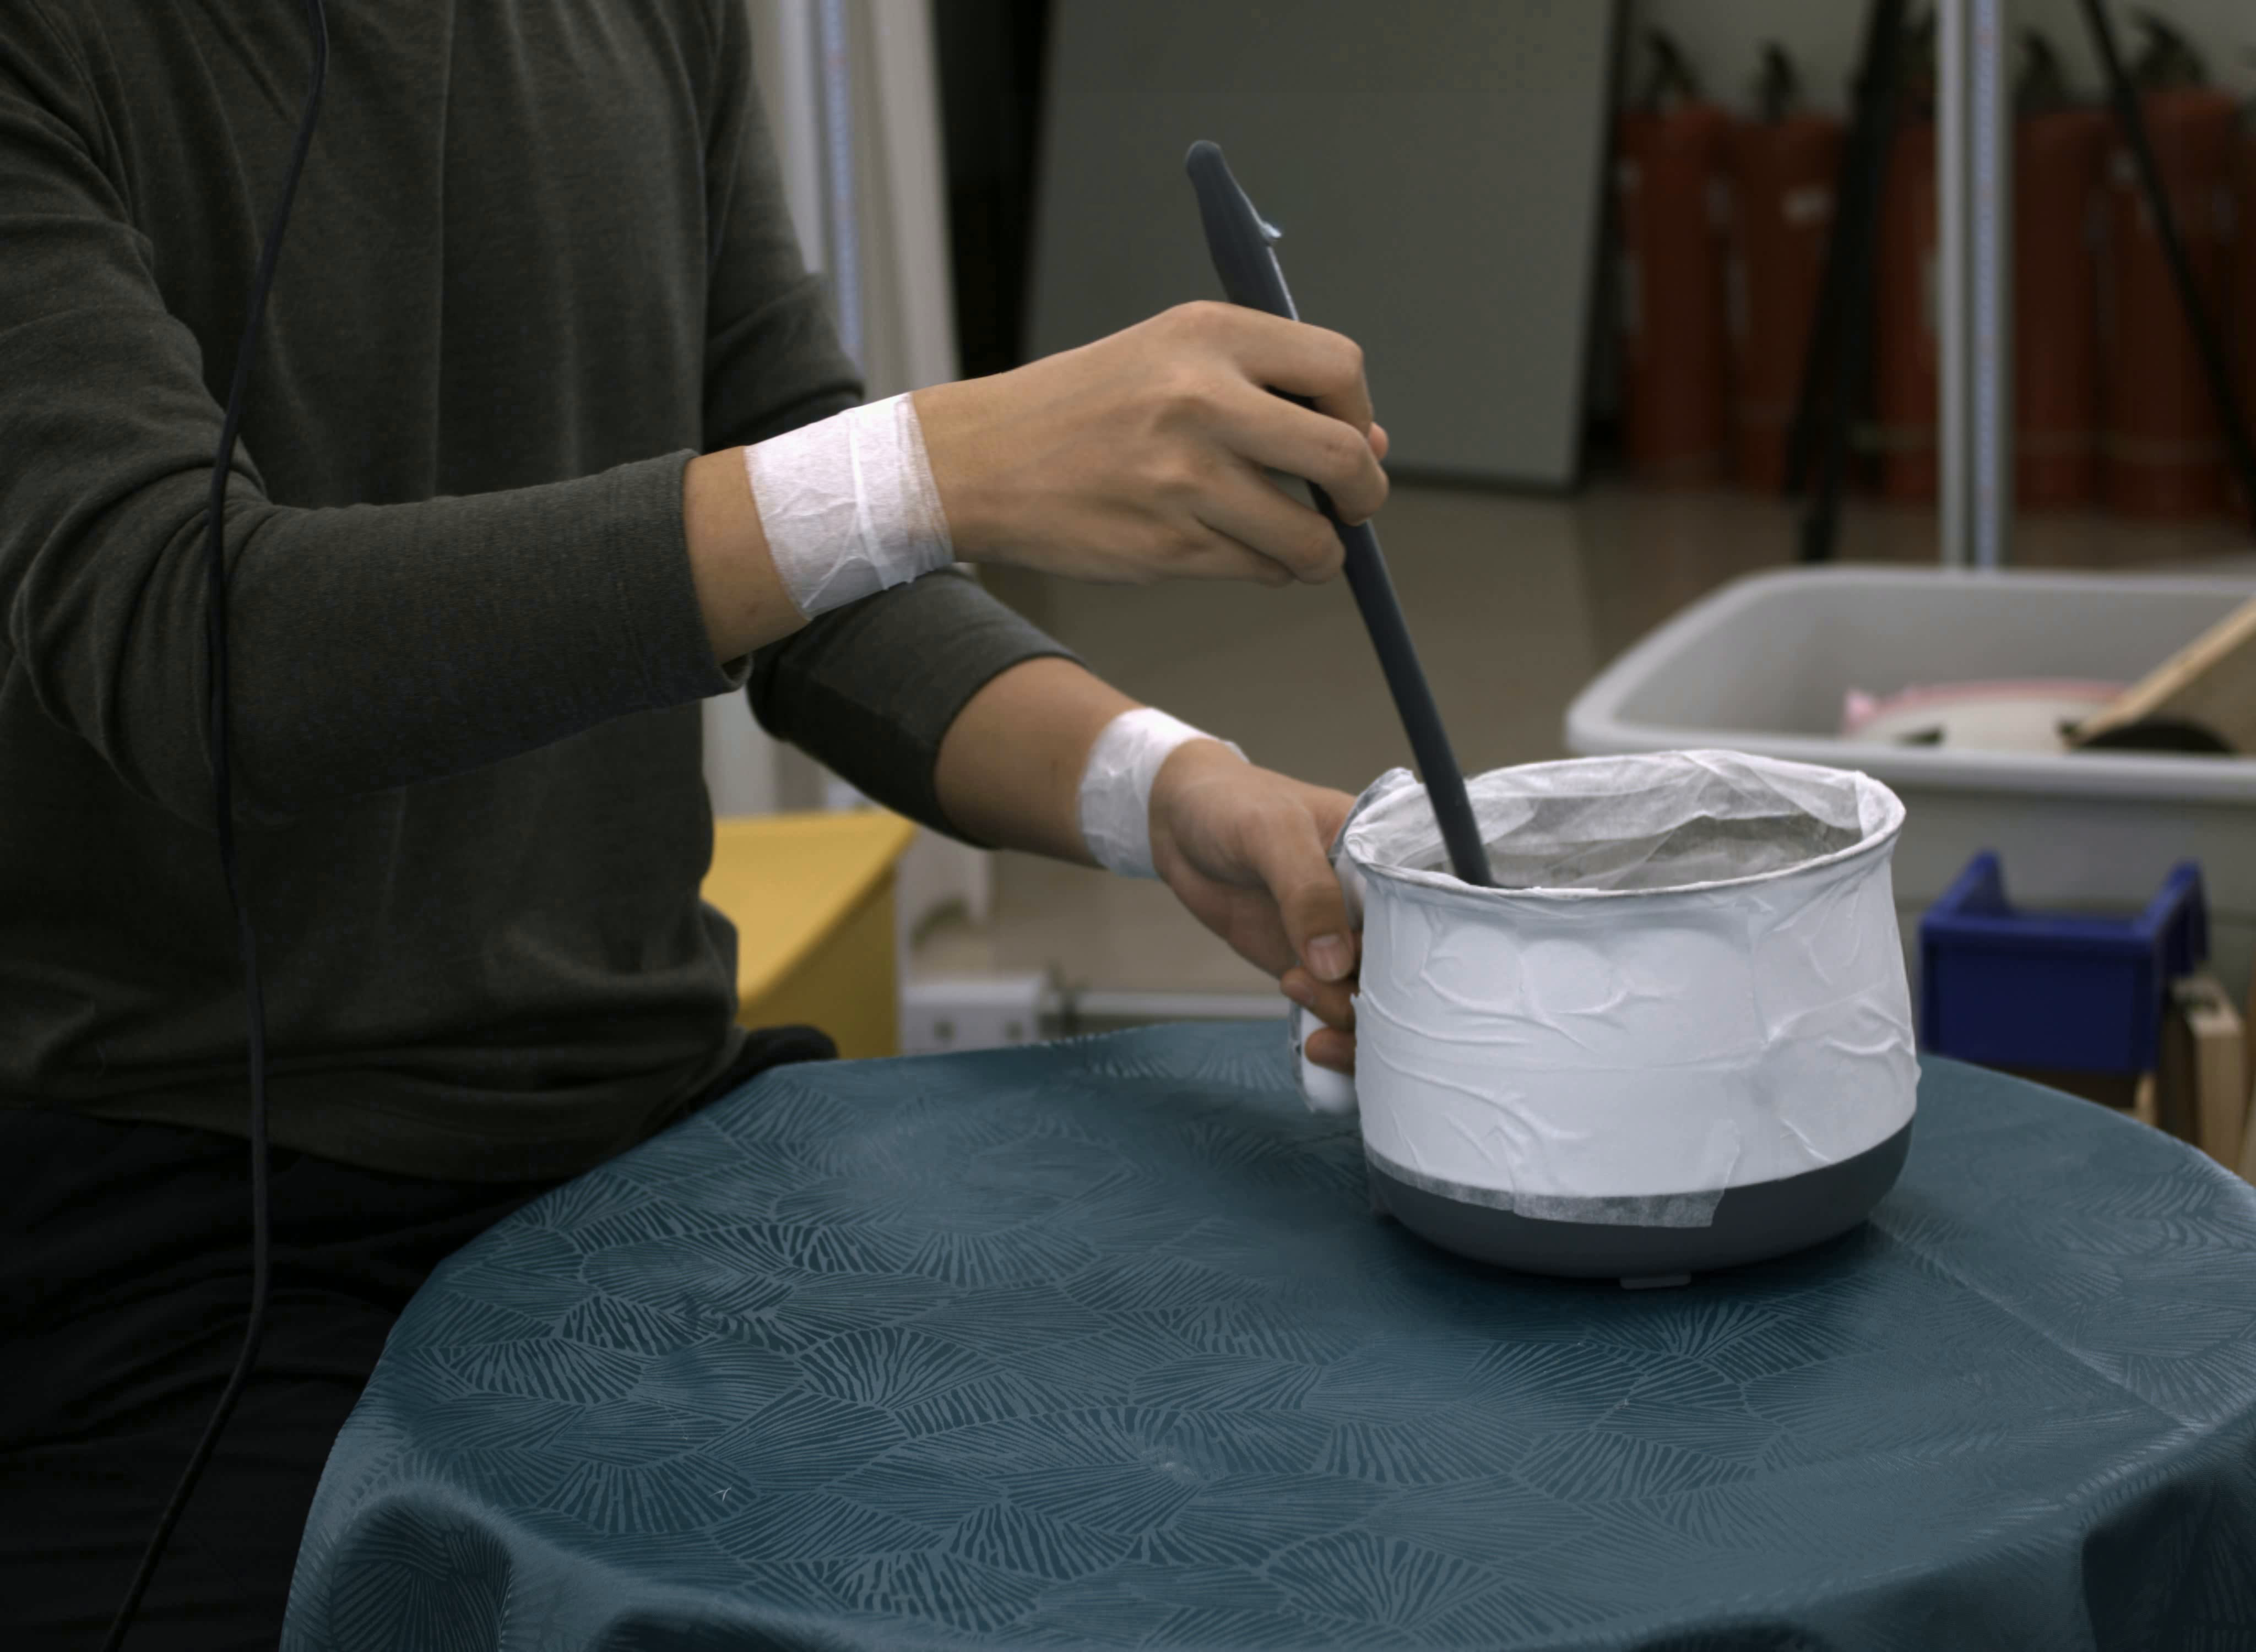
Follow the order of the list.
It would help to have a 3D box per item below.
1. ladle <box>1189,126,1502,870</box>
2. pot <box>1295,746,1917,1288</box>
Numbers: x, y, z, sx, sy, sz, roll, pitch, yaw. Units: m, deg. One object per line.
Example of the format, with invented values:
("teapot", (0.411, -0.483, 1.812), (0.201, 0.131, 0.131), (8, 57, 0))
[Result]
("ladle", (0.101, -0.074, 1.630), (0.063, 0.315, 0.086), (-23, 15, 0))
("pot", (0.140, 0.055, 1.713), (0.175, 0.138, 0.236), (-16, 17, -41))
